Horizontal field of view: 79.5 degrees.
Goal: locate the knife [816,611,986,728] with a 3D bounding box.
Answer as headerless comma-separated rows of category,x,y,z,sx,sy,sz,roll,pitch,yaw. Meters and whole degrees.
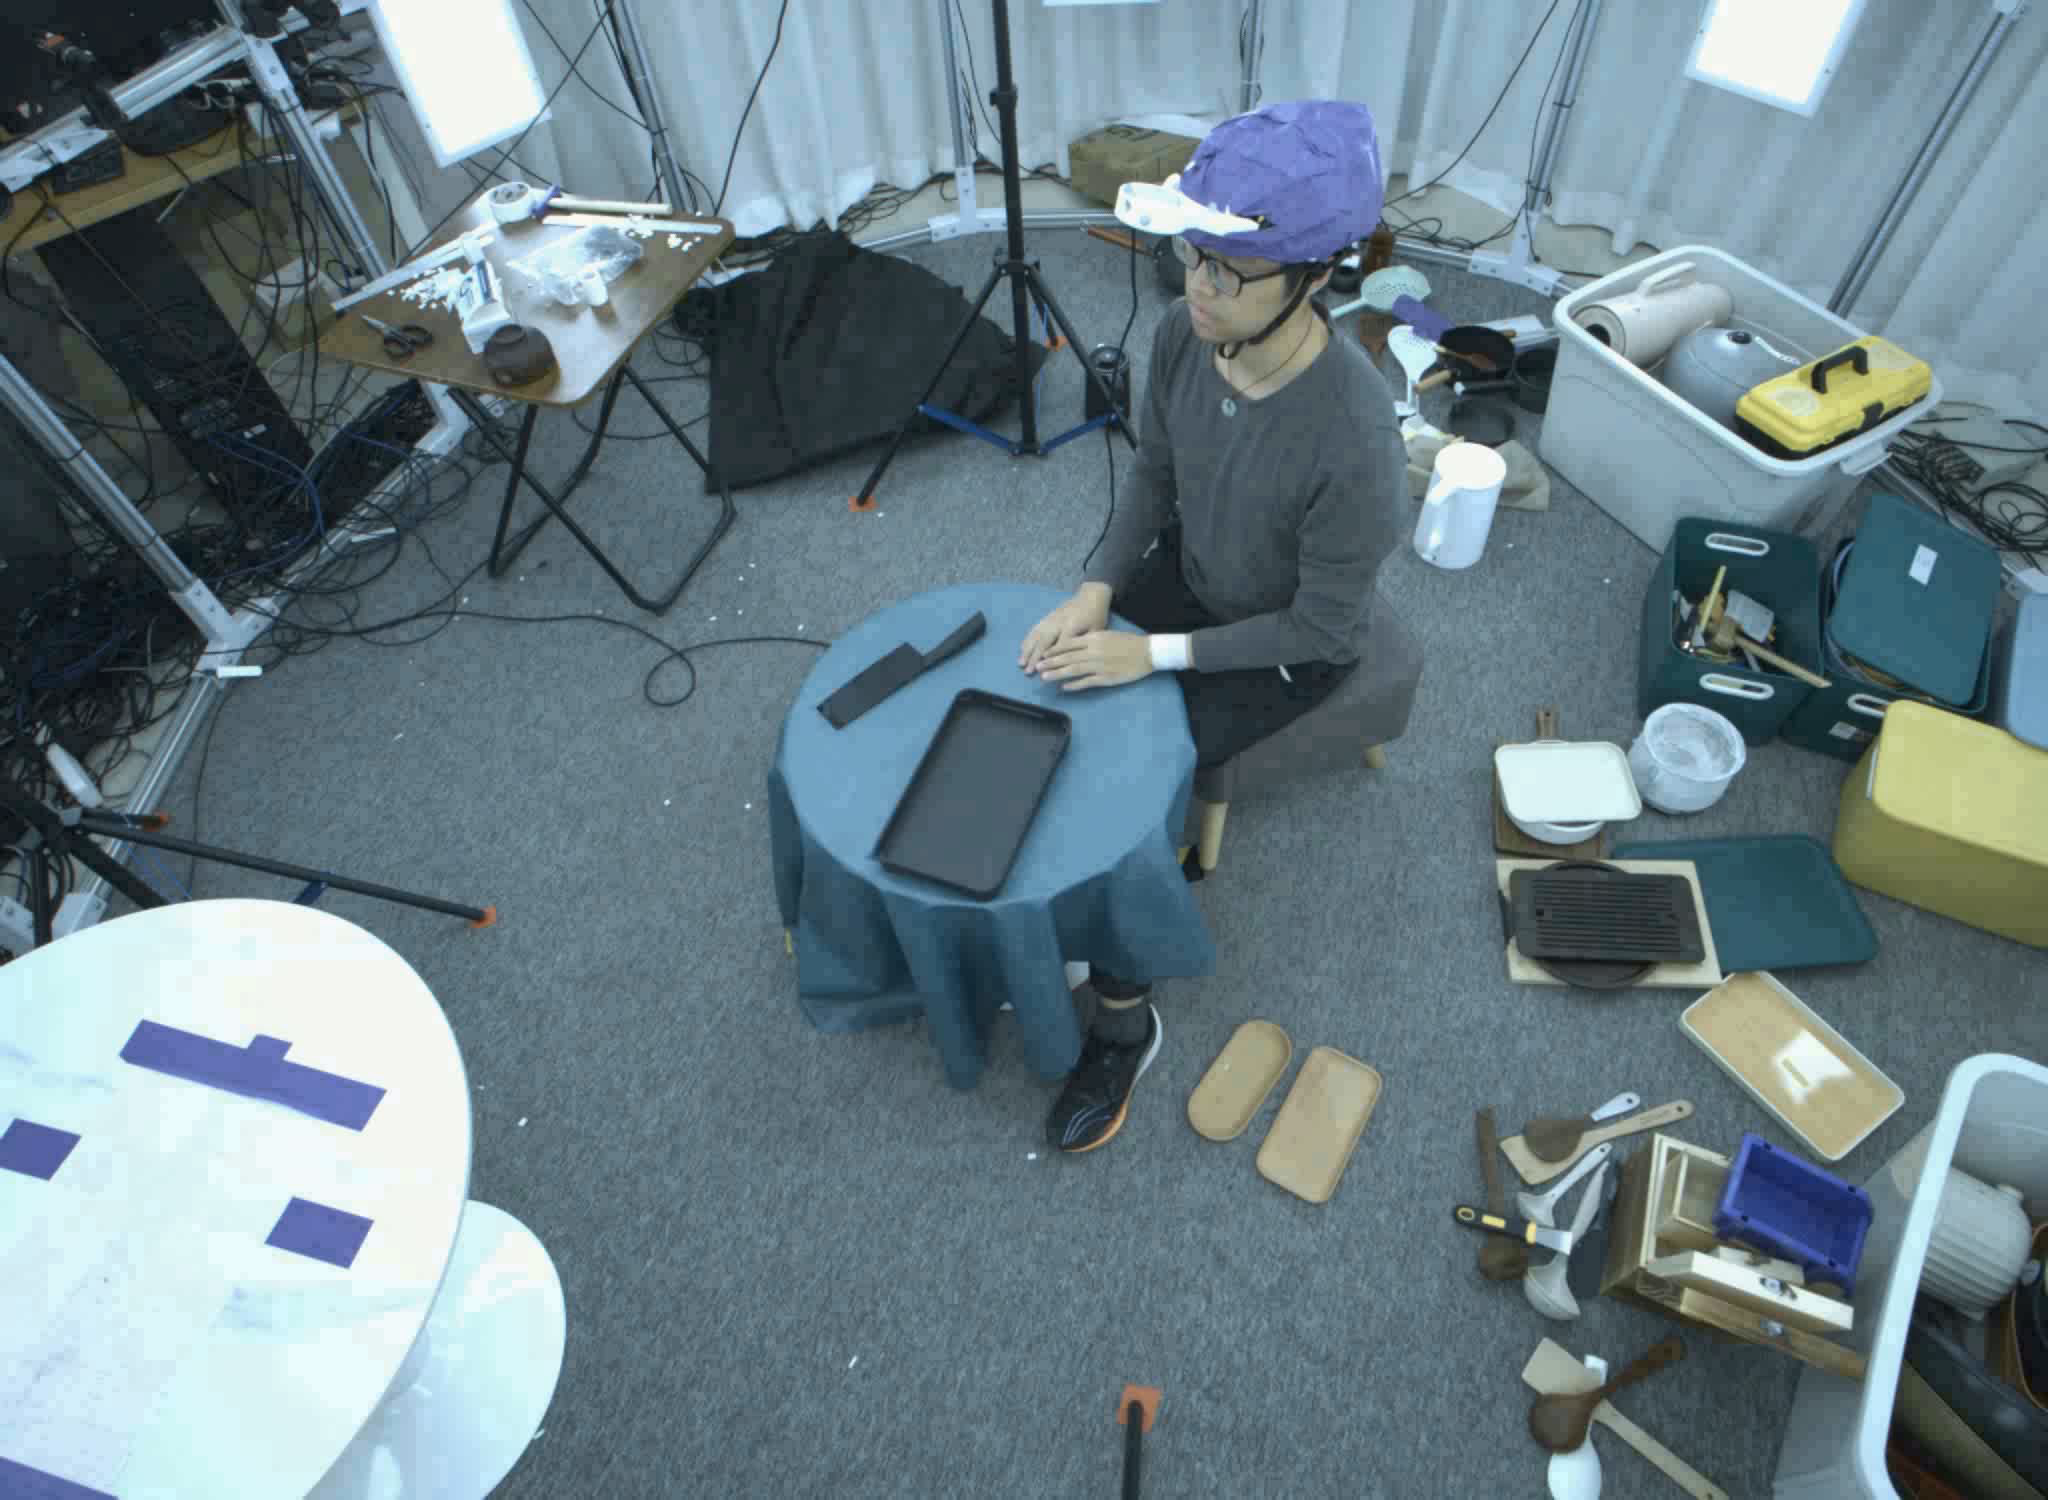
knife,-0.184,-0.131,1.886,0.304,0.021,0.079,-33,59,-18

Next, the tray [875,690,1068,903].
tray,-0.068,0.058,1.733,0.182,0.037,0.317,16,56,12
